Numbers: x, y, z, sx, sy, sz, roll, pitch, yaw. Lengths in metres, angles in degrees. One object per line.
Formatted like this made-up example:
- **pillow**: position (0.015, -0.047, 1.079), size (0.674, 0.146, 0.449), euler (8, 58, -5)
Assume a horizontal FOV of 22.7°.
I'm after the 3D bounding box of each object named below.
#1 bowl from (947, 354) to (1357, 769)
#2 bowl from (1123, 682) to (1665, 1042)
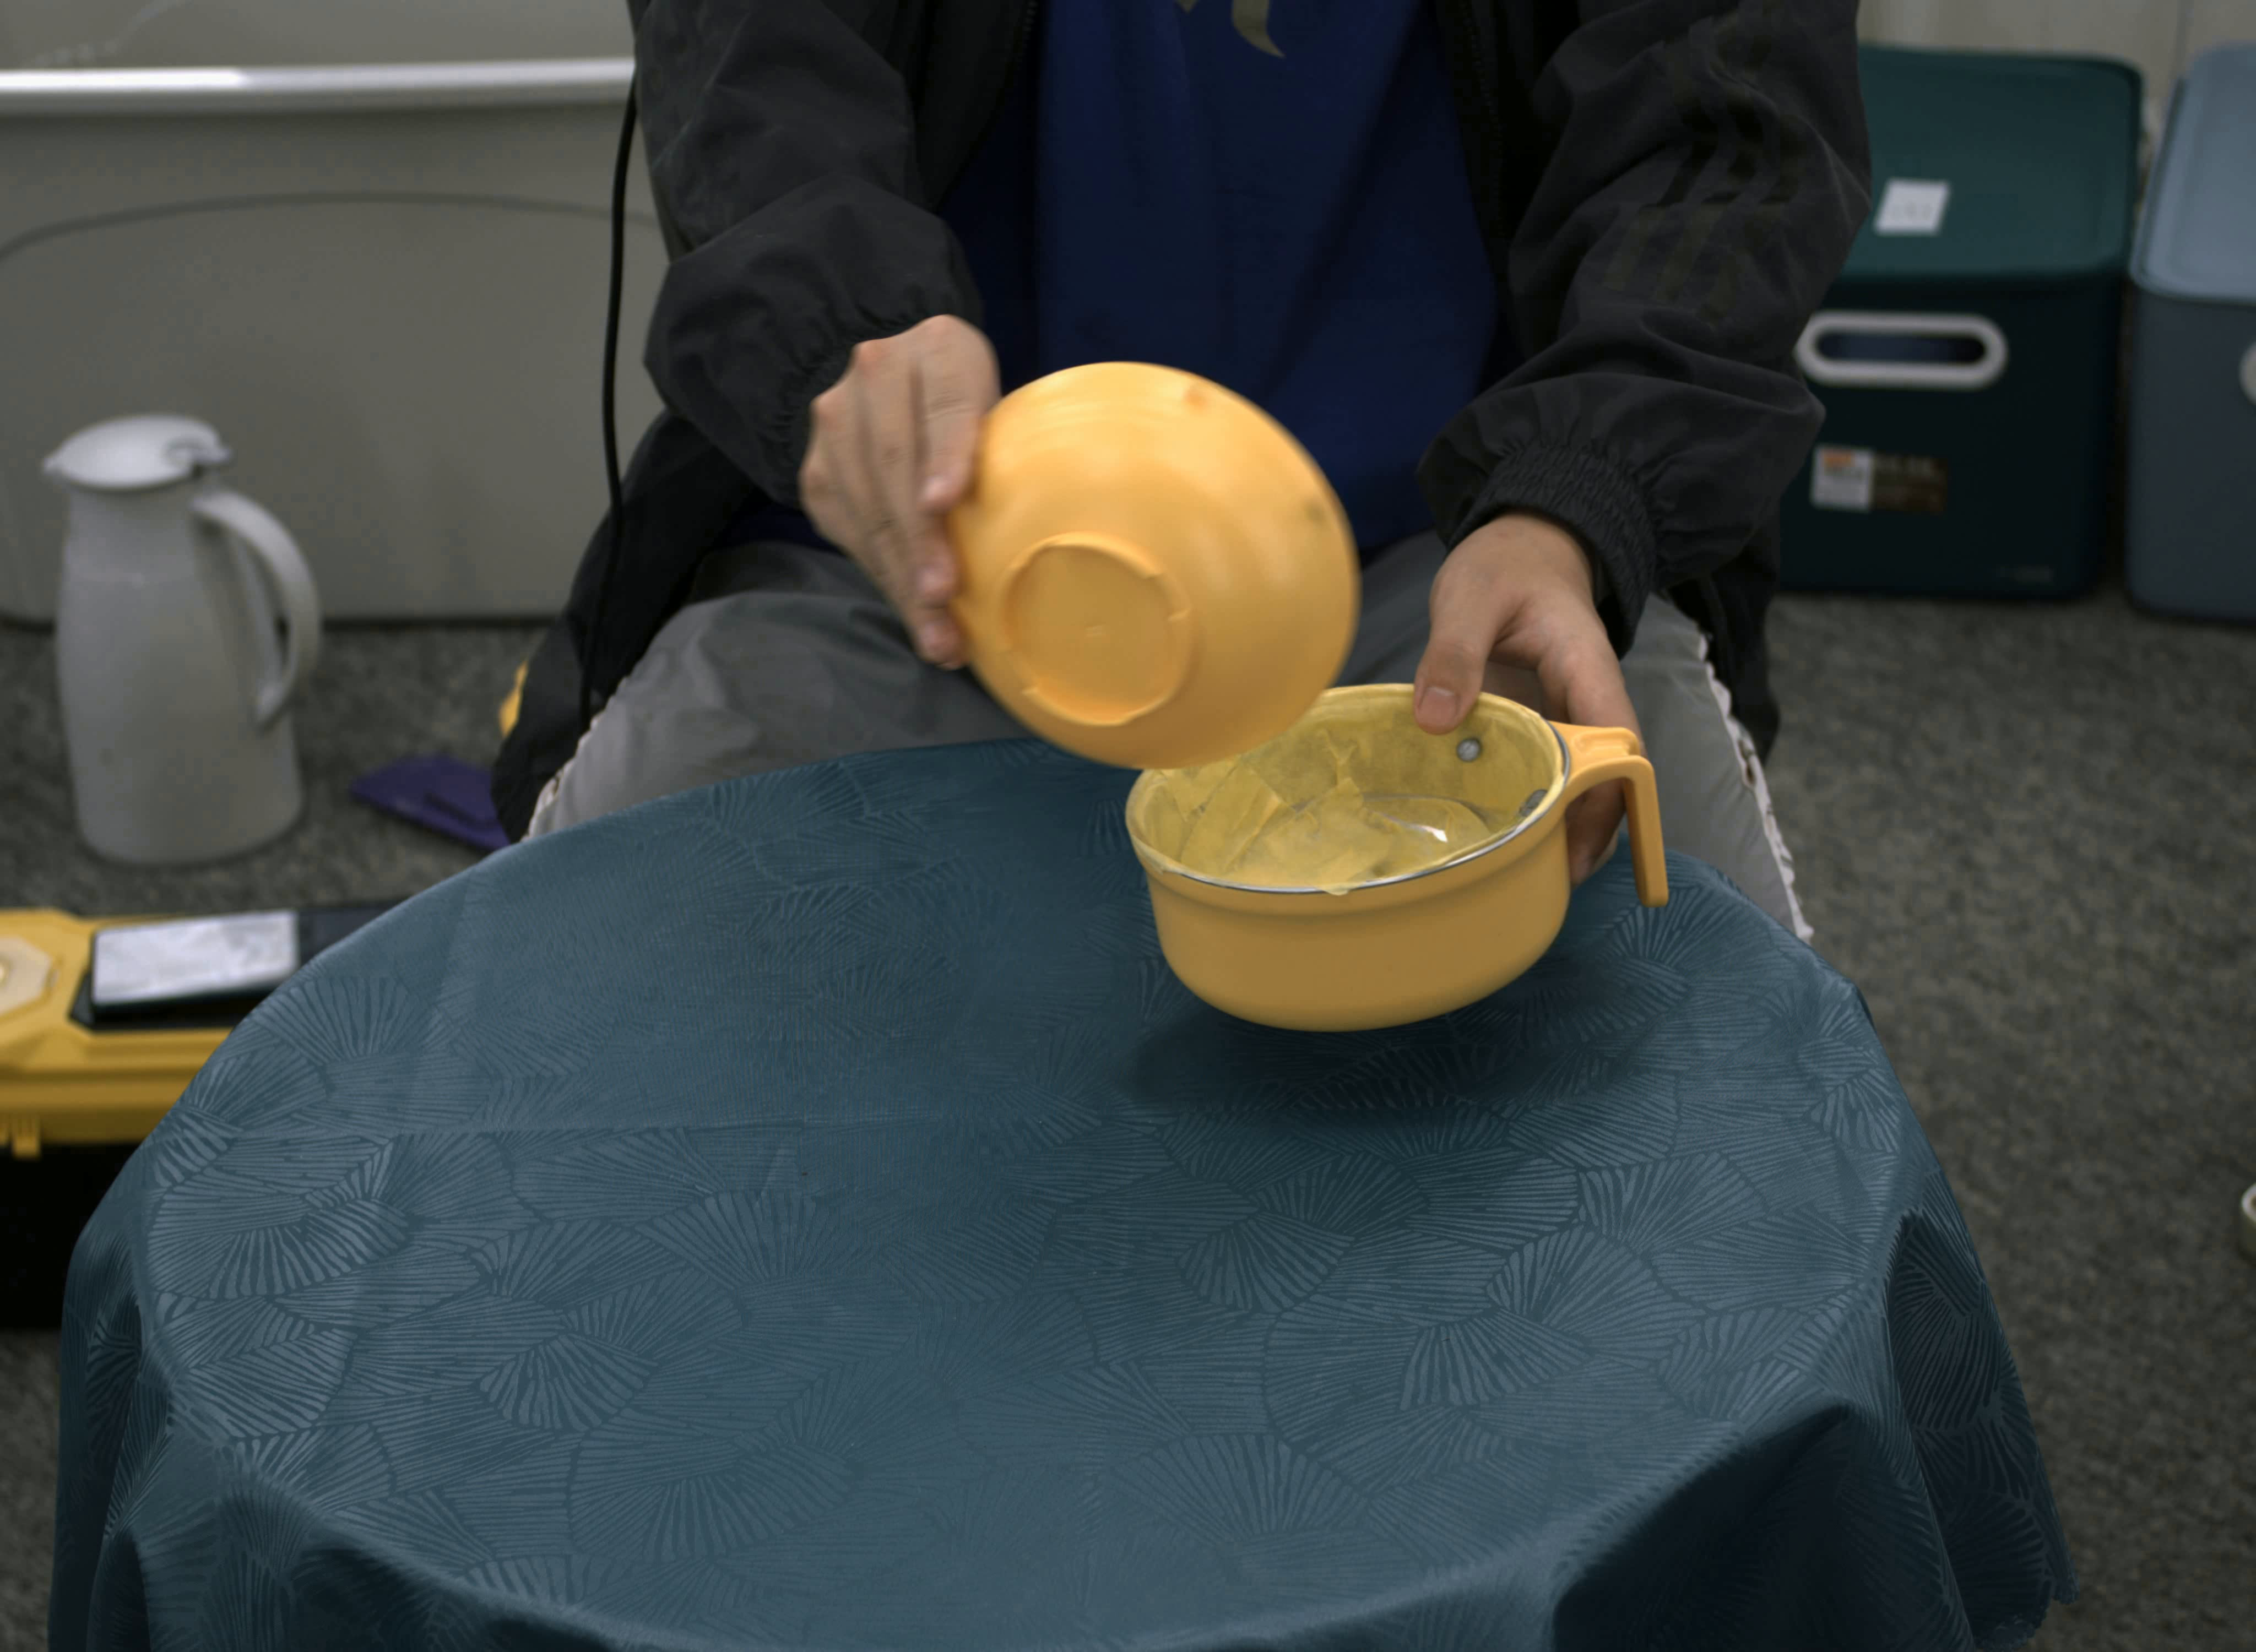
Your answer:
- **bowl**: position (-0.001, -0.077, 1.843), size (0.144, 0.144, 0.061), euler (7, 24, 19)
- **bowl**: position (0.091, 0.013, 1.913), size (0.179, 0.073, 0.154), euler (-13, 25, -6)
